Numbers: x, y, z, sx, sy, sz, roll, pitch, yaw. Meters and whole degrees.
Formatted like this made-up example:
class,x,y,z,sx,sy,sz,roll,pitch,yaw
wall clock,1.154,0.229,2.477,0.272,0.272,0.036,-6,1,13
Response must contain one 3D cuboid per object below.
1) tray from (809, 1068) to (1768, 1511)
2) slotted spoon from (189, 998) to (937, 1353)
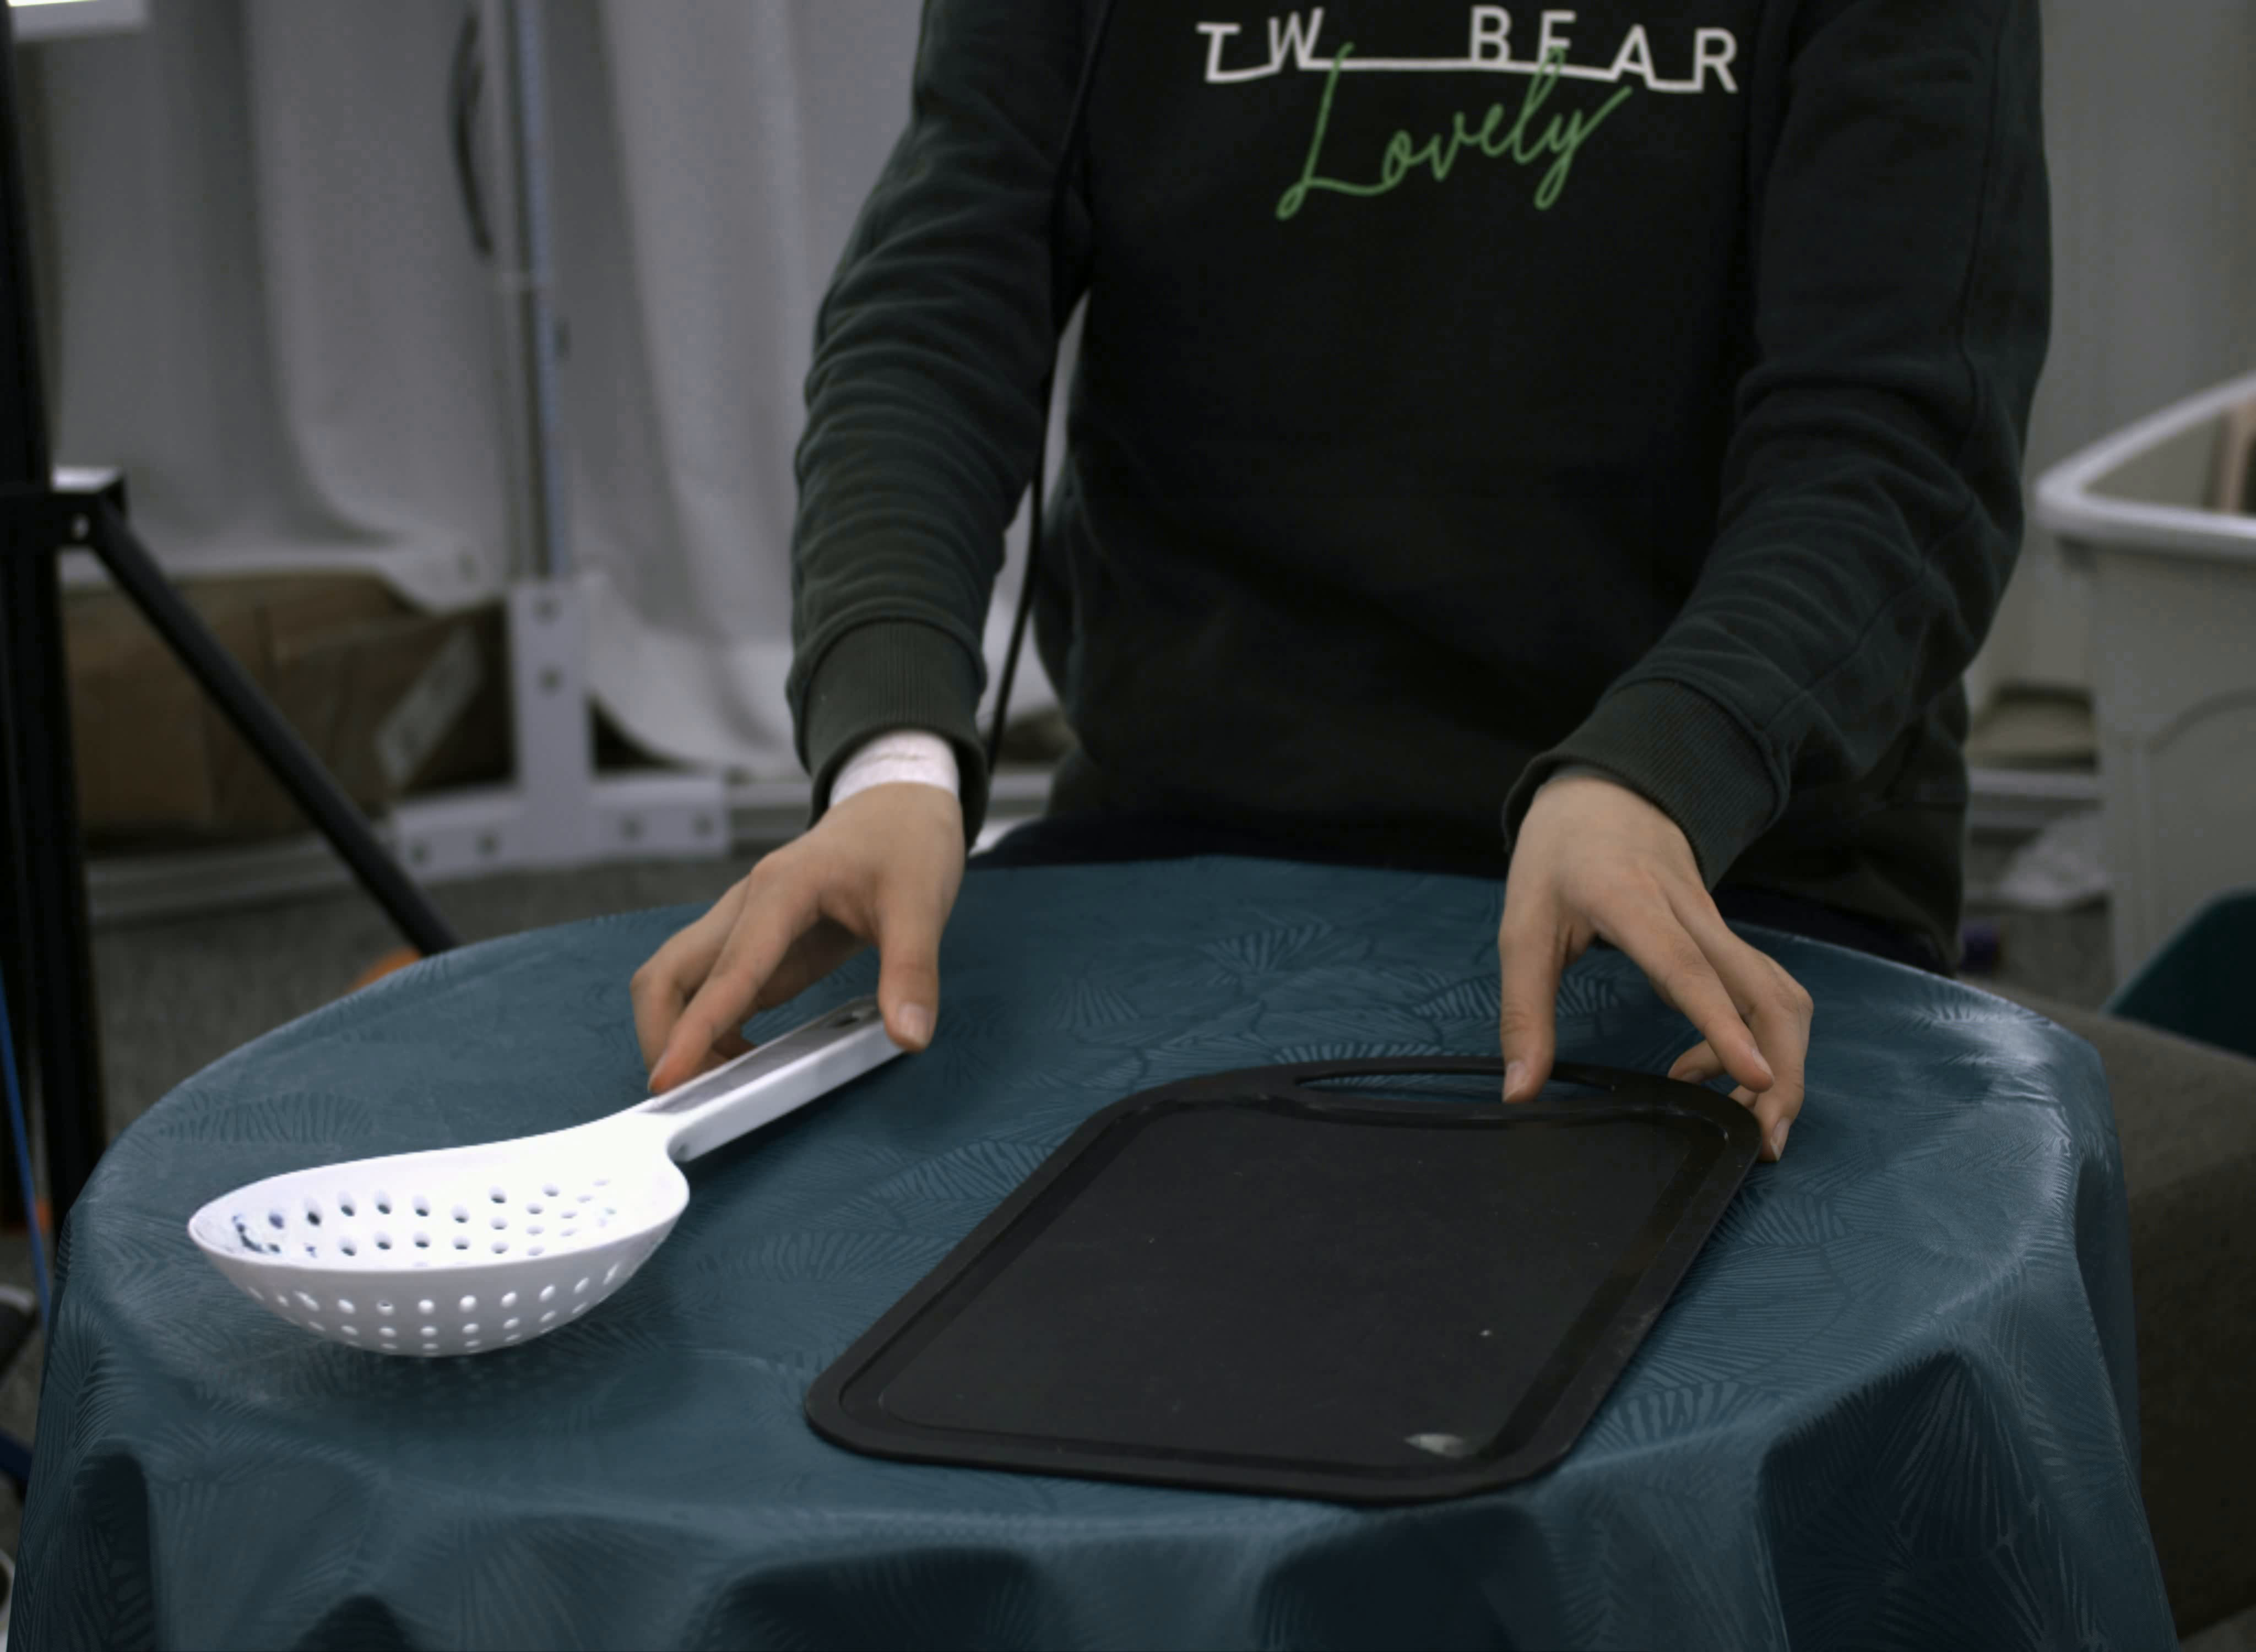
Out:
class,x,y,z,sx,sy,sz,roll,pitch,yaw
tray,0.054,0.120,1.485,0.213,0.010,0.321,3,17,20
slotted spoon,-0.144,0.092,1.554,0.138,0.046,0.344,4,16,24
